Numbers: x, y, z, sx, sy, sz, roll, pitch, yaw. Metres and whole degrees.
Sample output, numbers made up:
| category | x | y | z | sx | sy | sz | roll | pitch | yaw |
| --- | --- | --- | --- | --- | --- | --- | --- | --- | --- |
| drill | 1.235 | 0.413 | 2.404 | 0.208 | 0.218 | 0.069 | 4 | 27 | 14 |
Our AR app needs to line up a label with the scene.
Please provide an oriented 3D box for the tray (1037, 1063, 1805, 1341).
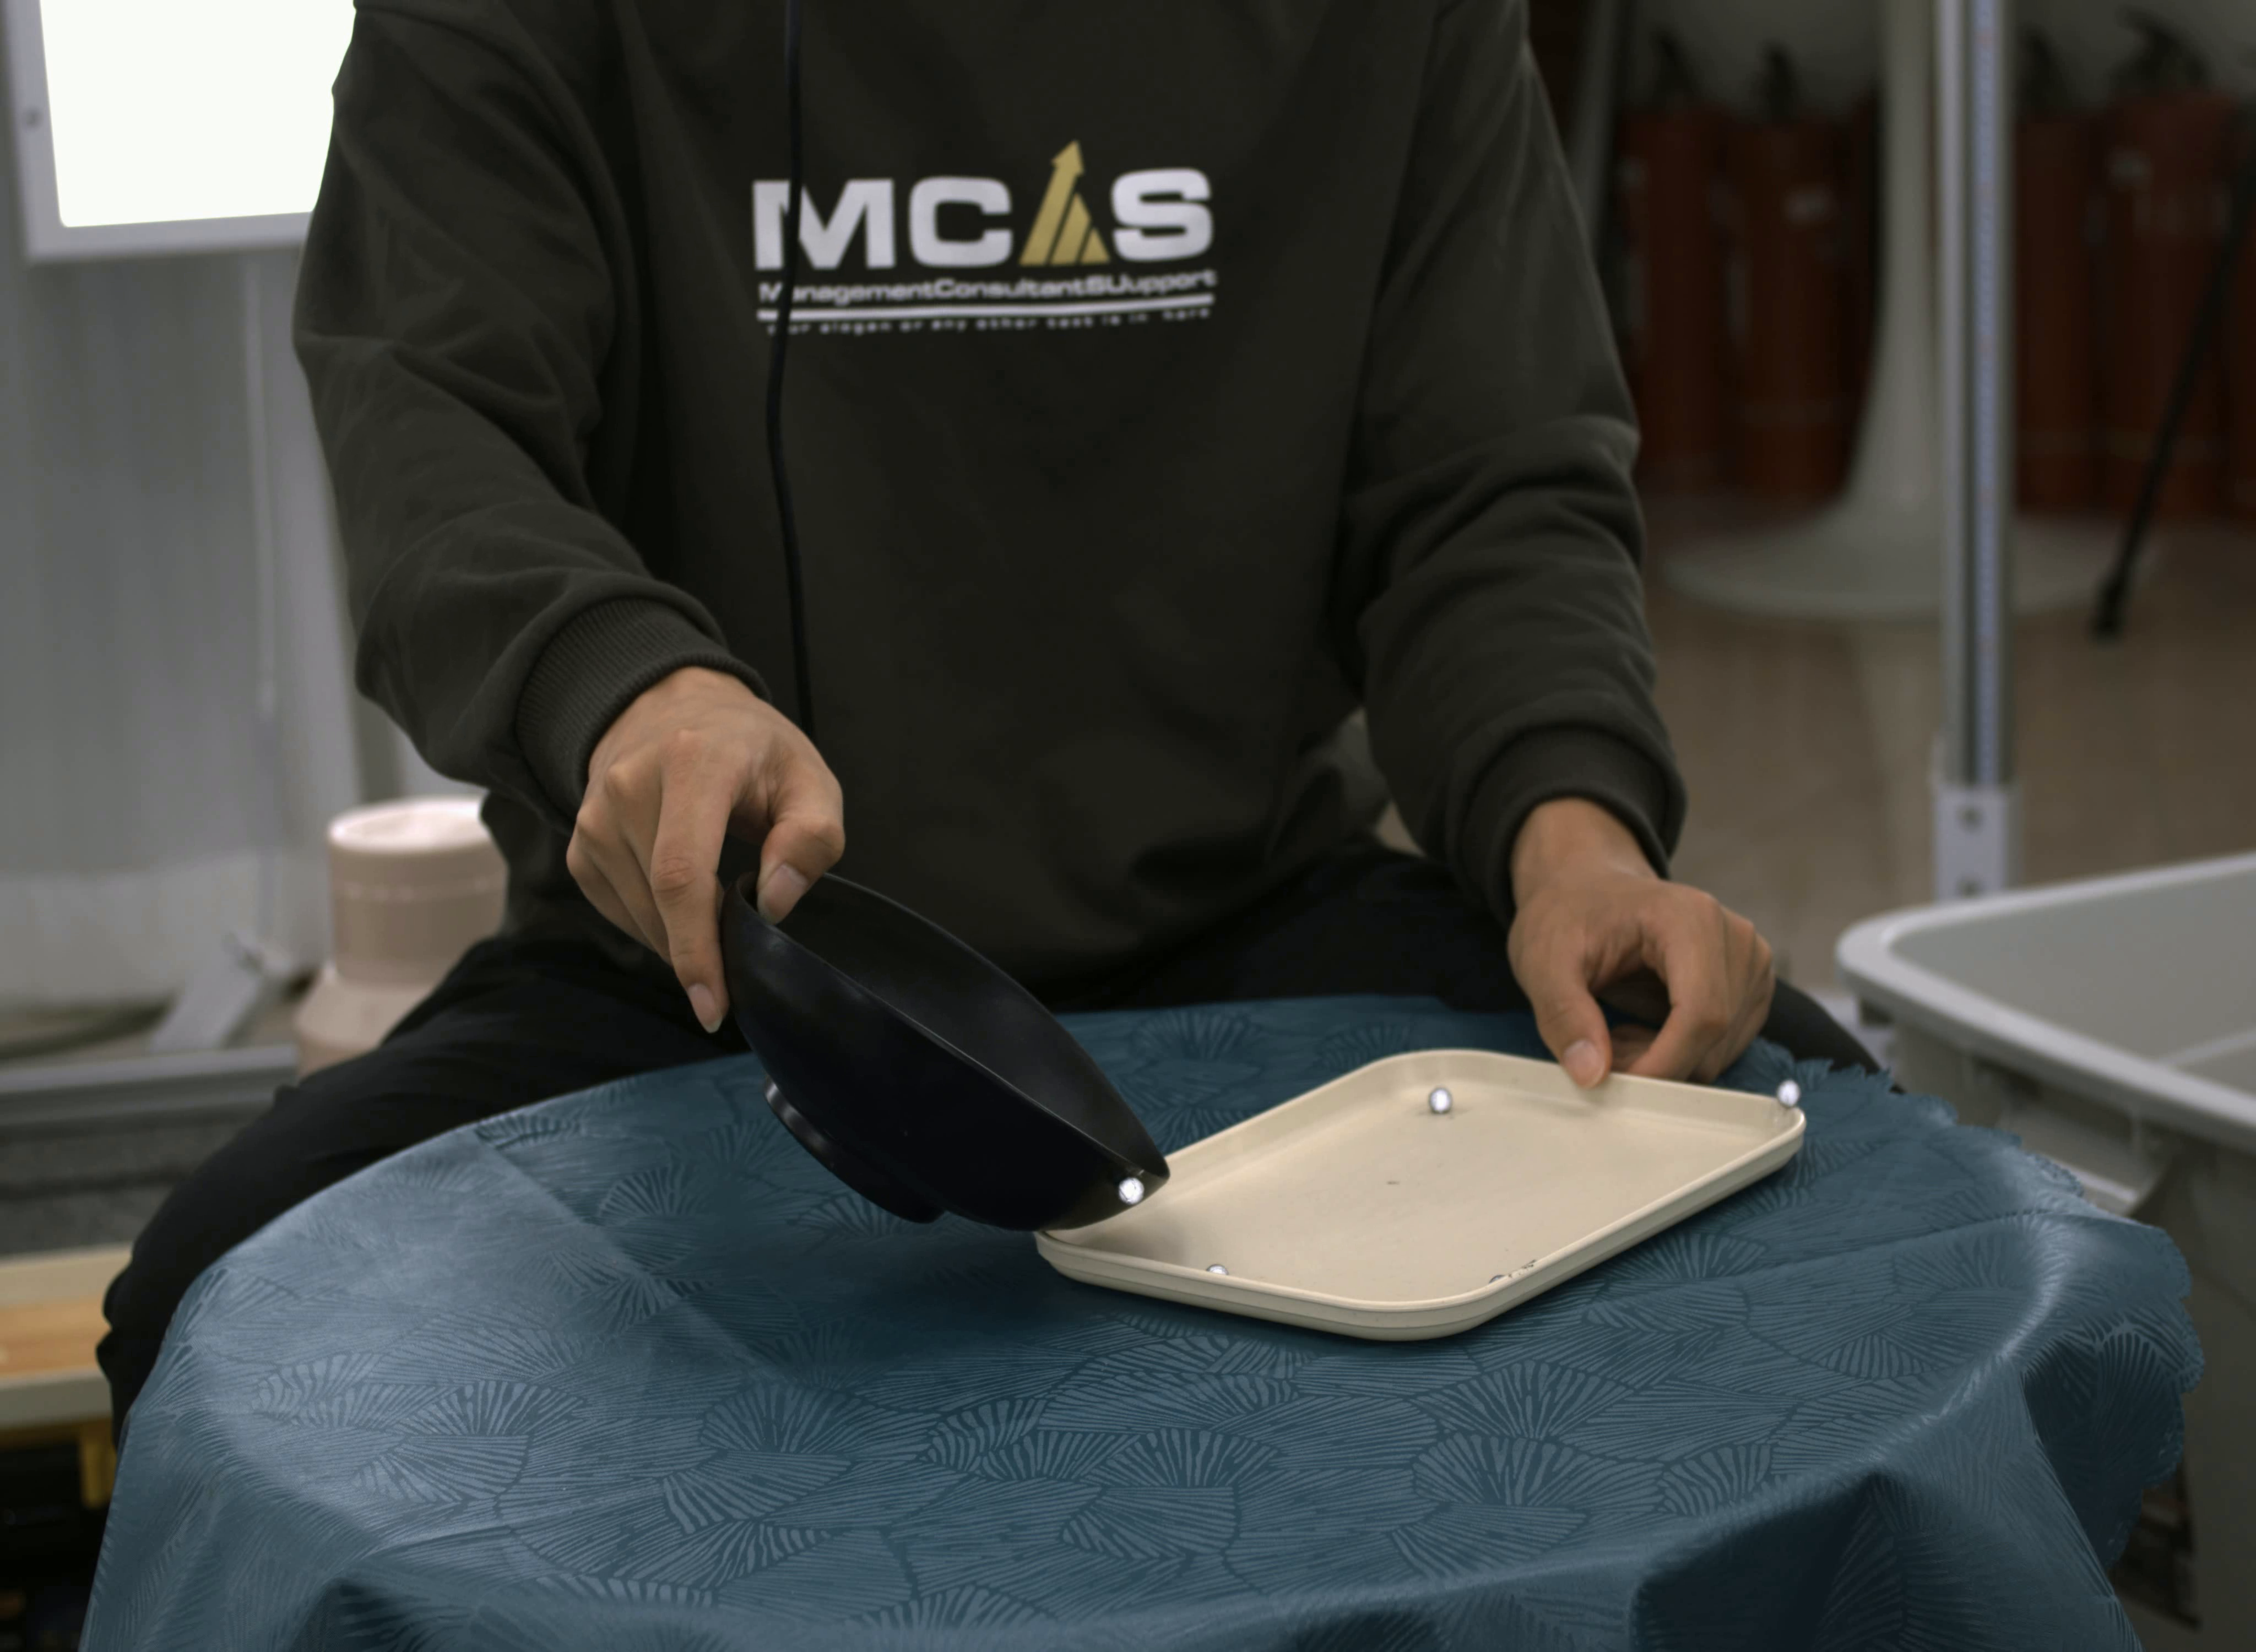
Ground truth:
| category | x | y | z | sx | sy | sz | roll | pitch | yaw |
| --- | --- | --- | --- | --- | --- | --- | --- | --- | --- |
| tray | 0.097 | 0.119 | 1.724 | 0.172 | 0.017 | 0.235 | 6 | 16 | 38 |

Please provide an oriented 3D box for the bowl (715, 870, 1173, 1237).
| category | x | y | z | sx | sy | sz | roll | pitch | yaw |
| --- | --- | --- | --- | --- | --- | --- | --- | --- | --- |
| bowl | -0.066 | 0.081 | 1.680 | 0.168 | 0.067 | 0.138 | 35 | 8 | -19 |
